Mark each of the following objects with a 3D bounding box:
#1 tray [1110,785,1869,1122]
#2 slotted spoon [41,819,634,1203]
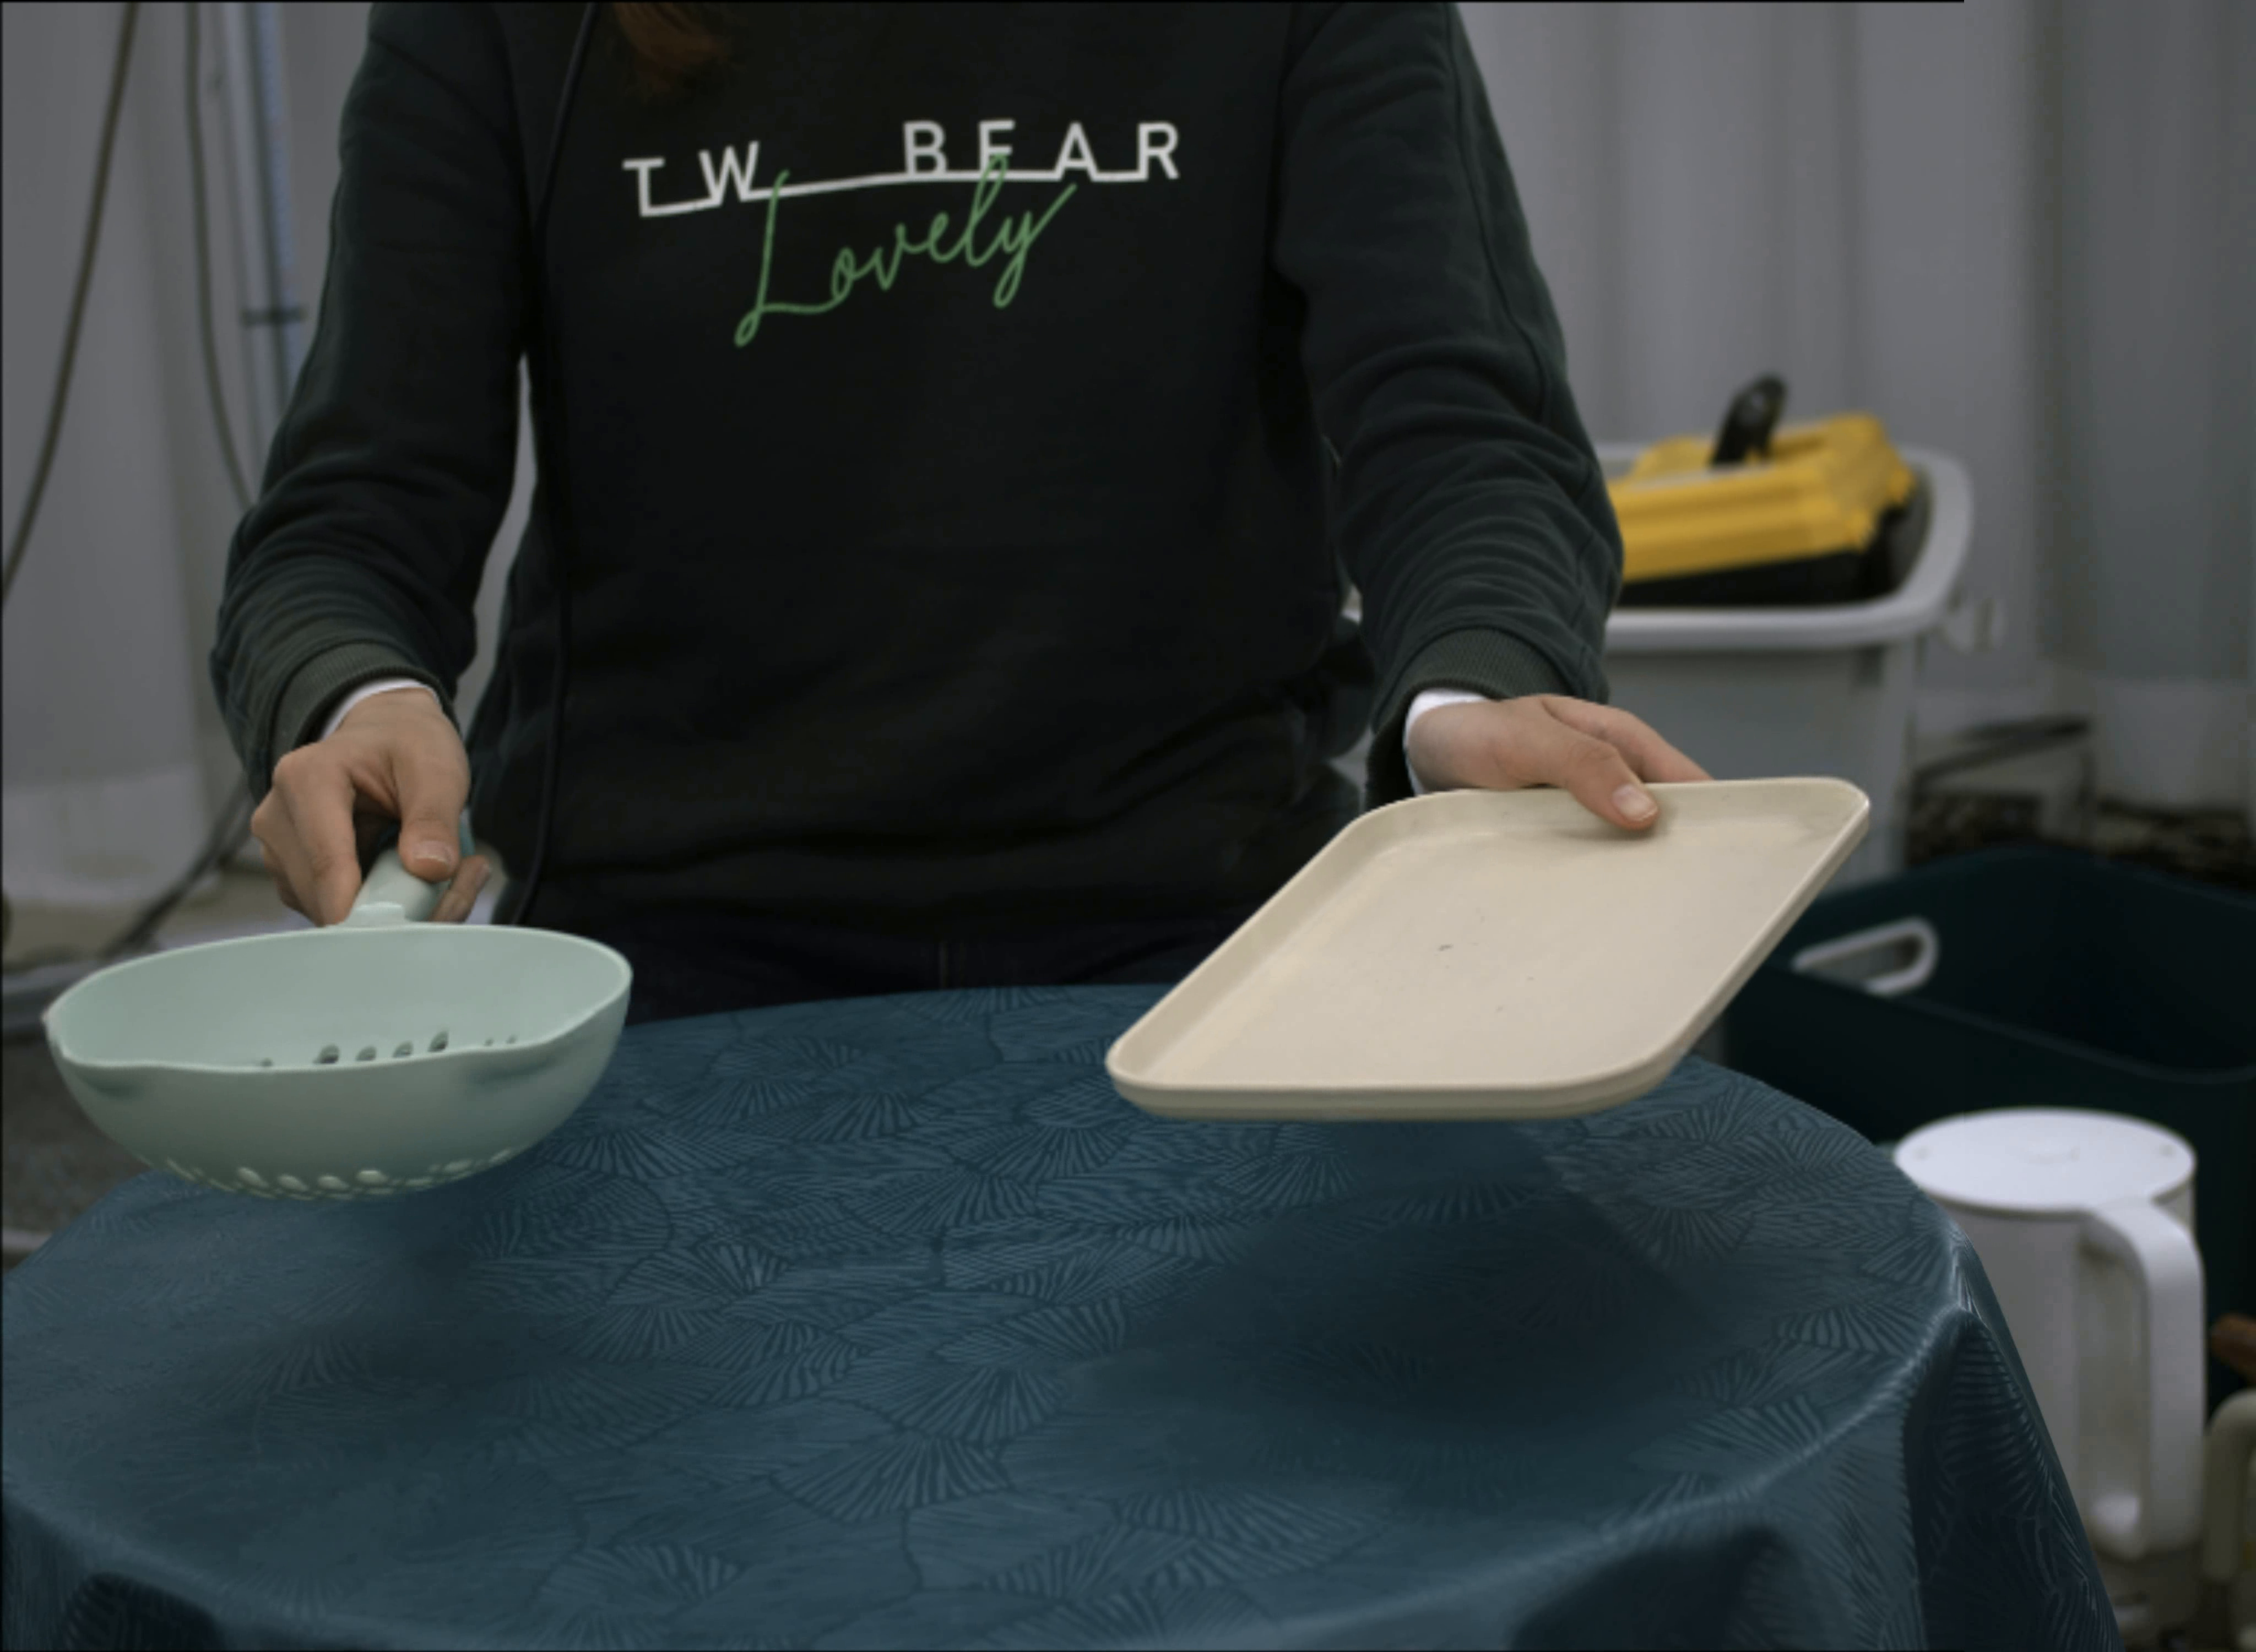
[{"bbox_3d":[0.109,0.037,1.583,0.171,0.017,0.241,-2,18,26],"label":"tray"},{"bbox_3d":[-0.228,0.041,1.669,0.169,0.075,0.362,0,19,-1],"label":"slotted spoon"}]
